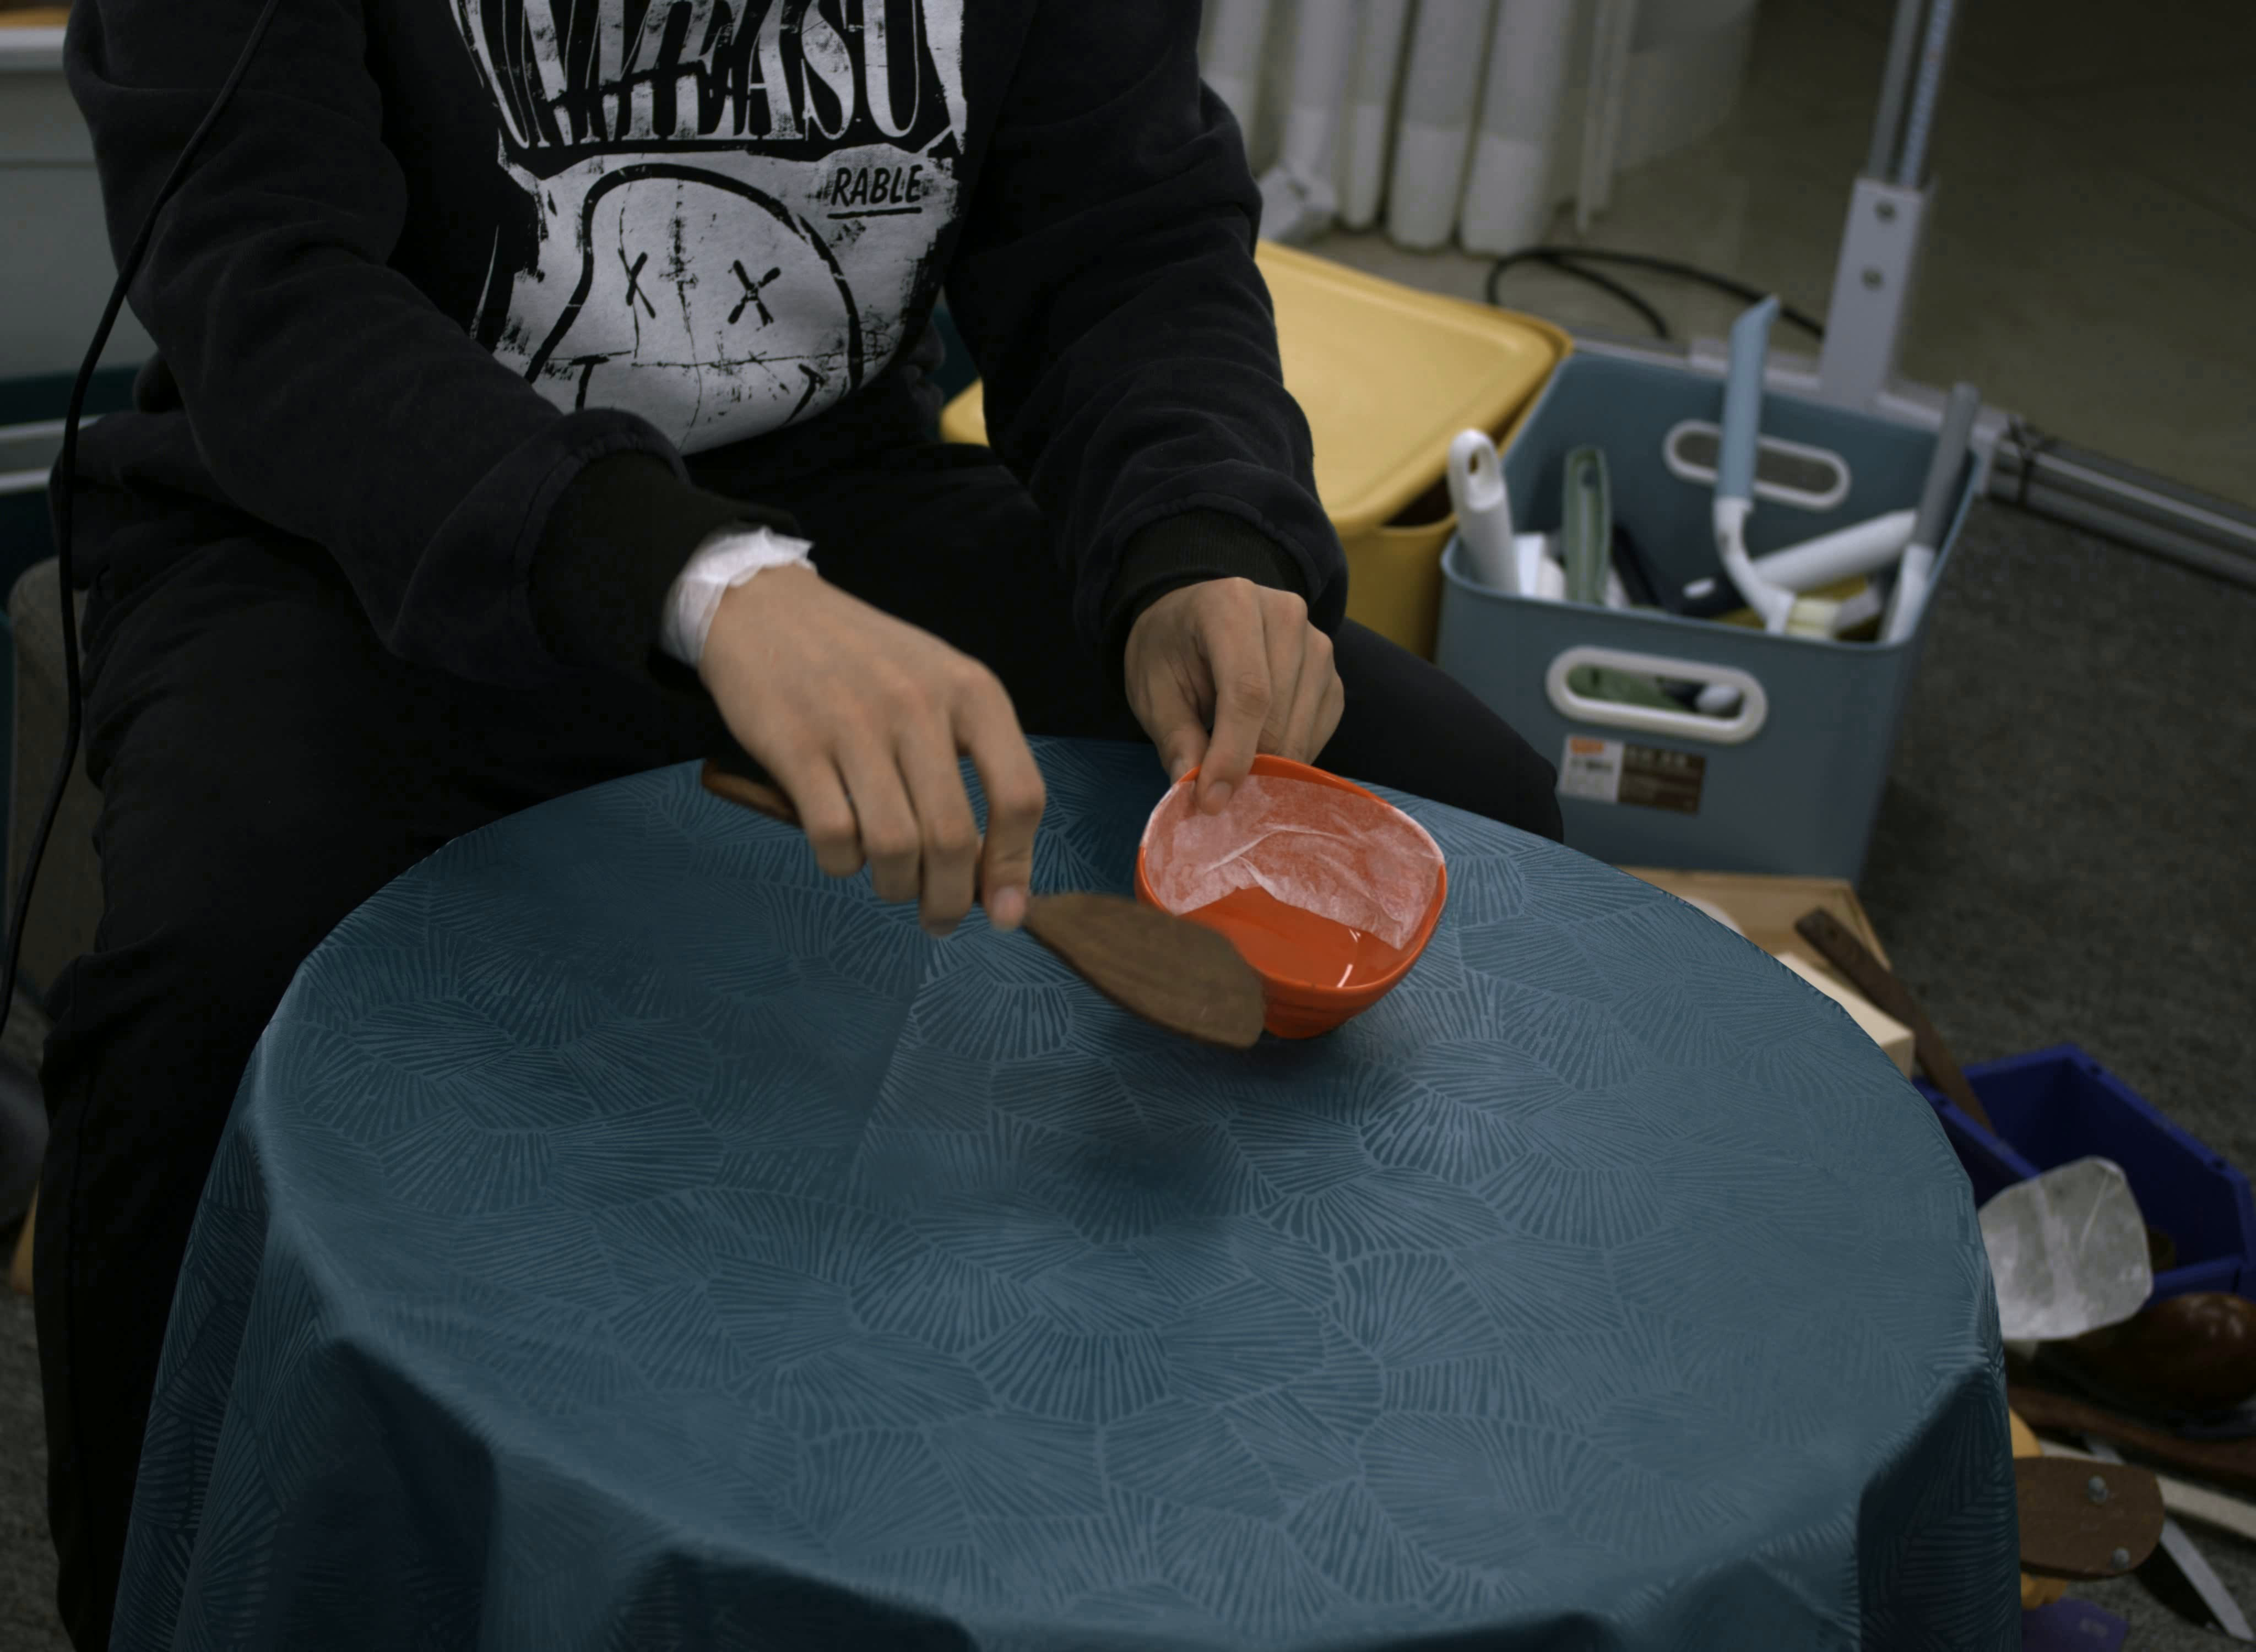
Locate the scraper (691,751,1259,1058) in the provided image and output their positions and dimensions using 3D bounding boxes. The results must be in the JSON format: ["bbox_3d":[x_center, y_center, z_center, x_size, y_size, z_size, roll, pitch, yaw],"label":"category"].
[{"bbox_3d":[-0.051,0.023,1.793,0.210,0.011,0.076,25,25,-10],"label":"scraper"}]

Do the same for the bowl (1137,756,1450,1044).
[{"bbox_3d":[0.055,0.034,1.914,0.118,0.051,0.120,9,44,-9],"label":"bowl"}]
